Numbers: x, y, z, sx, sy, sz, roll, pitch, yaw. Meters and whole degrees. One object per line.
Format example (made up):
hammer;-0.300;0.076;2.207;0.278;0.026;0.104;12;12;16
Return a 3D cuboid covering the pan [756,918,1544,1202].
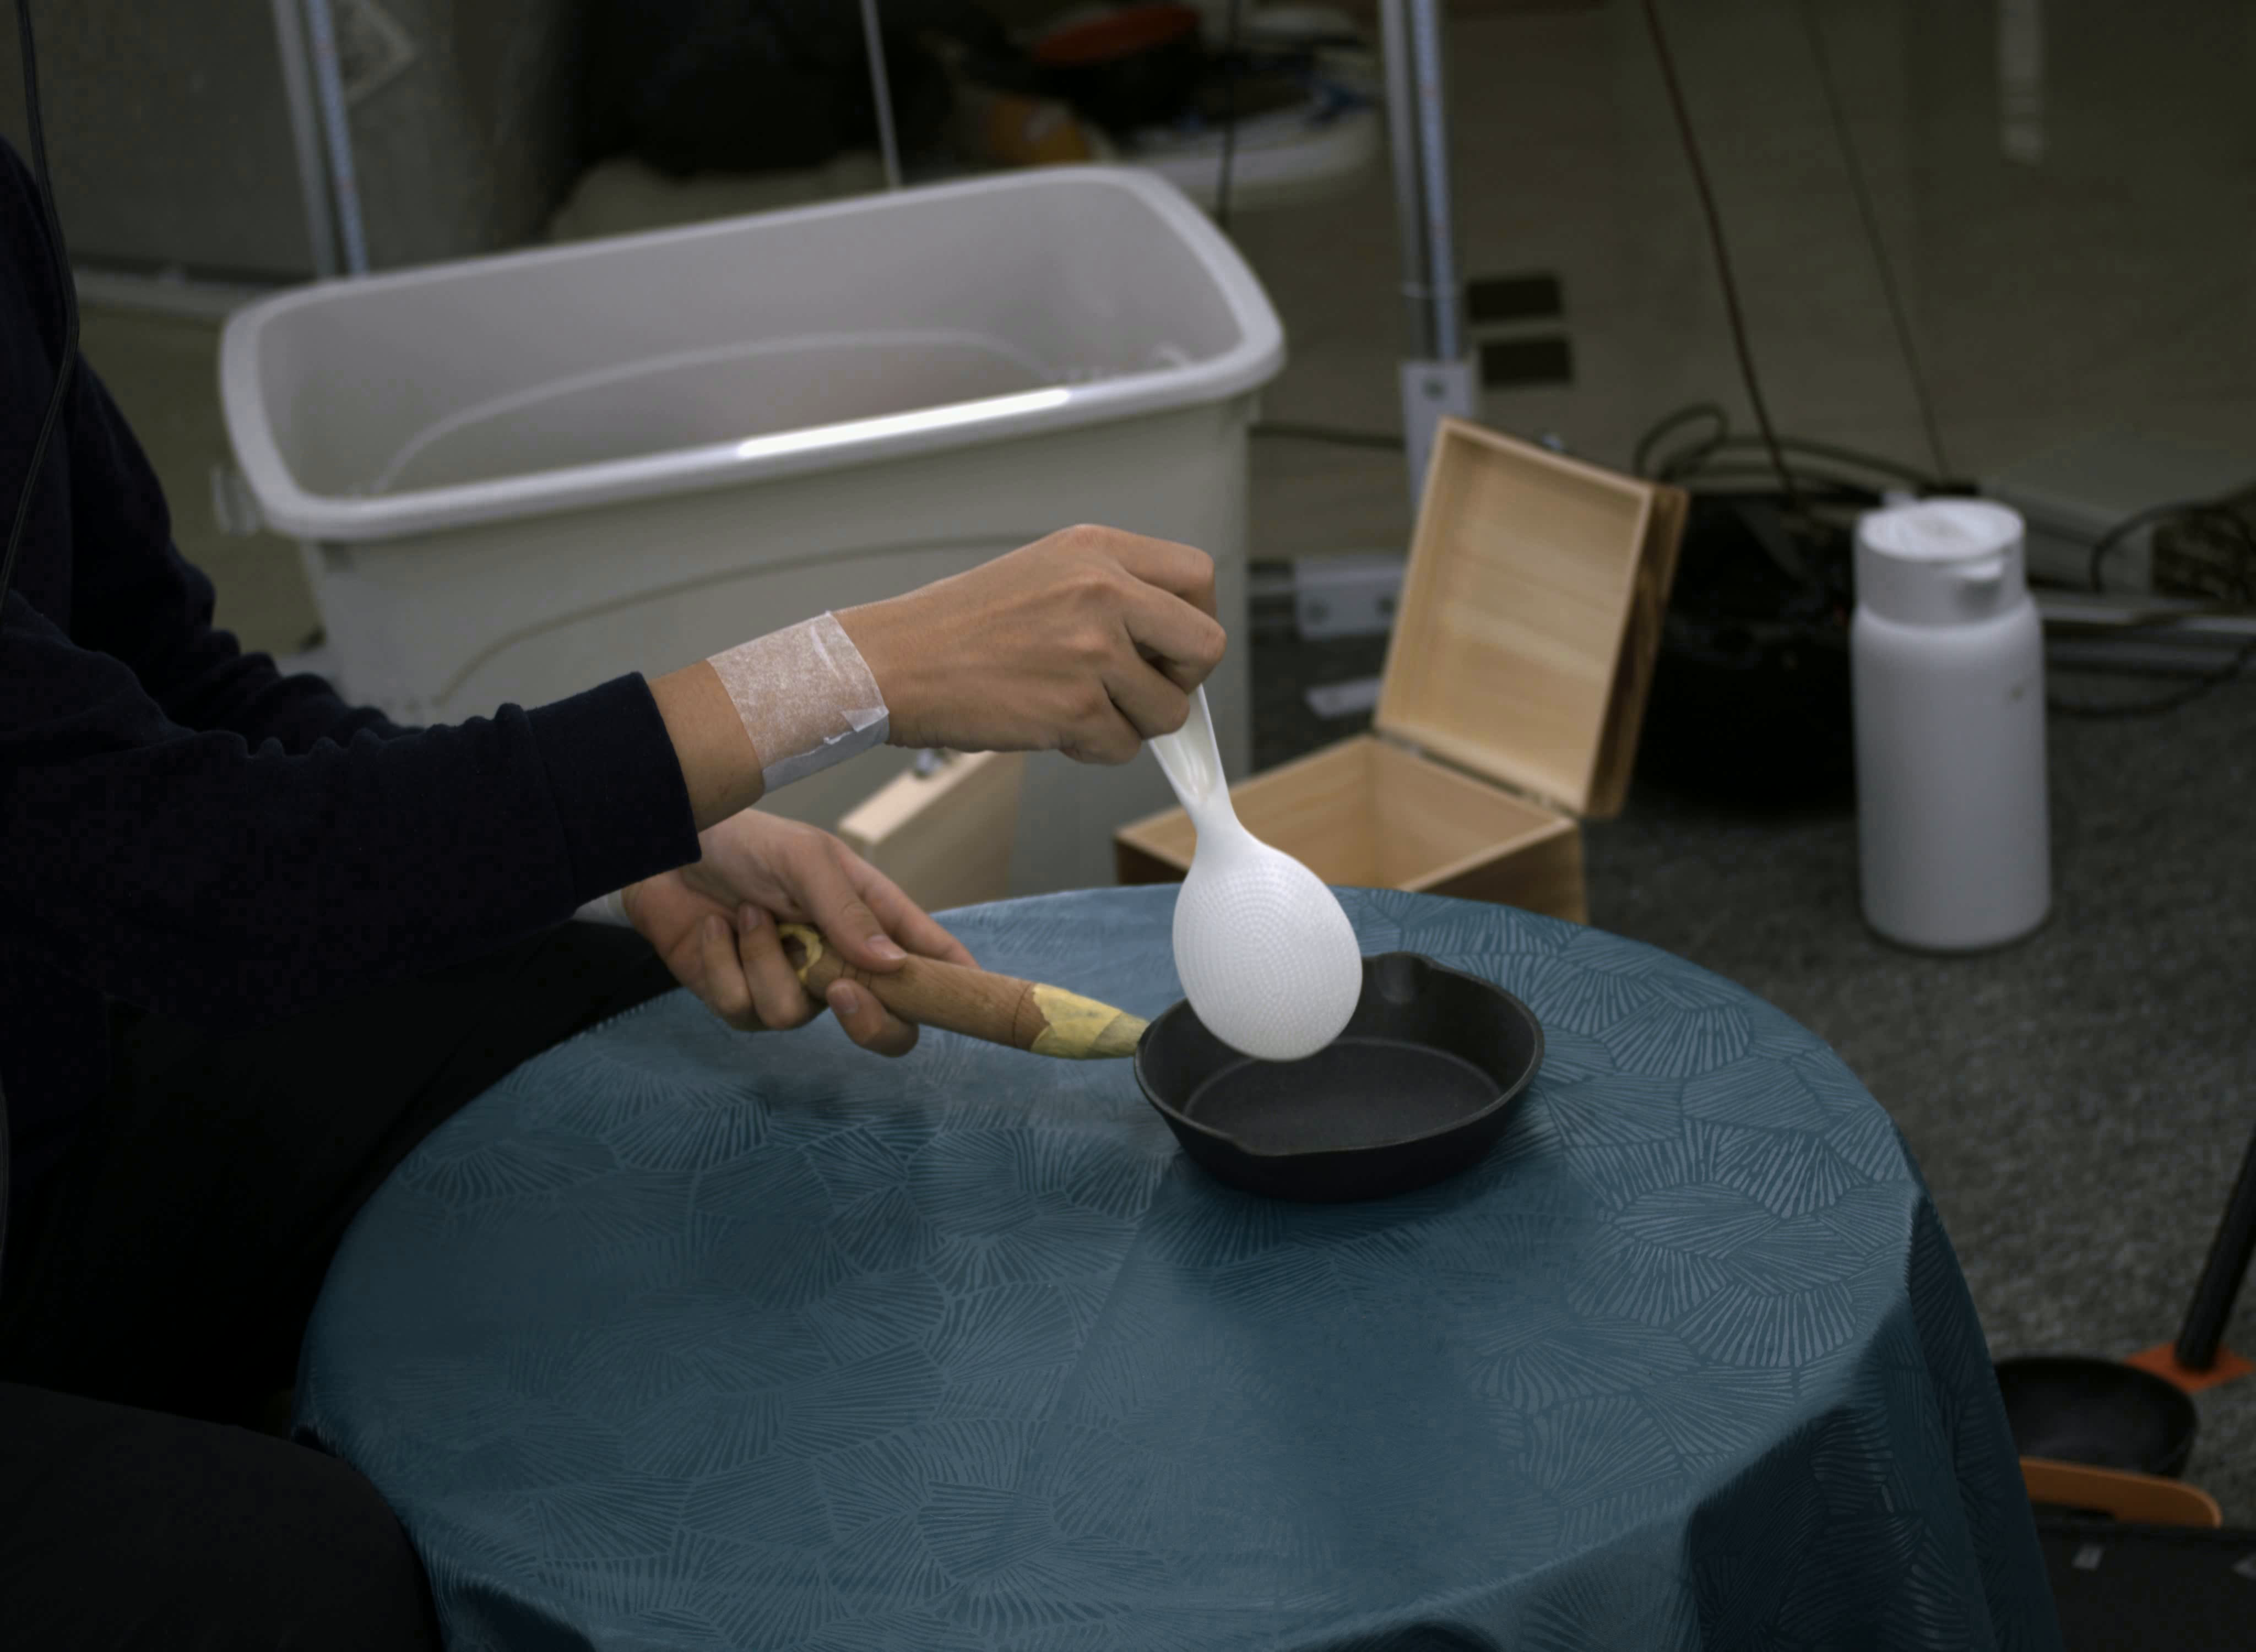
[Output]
pan;0.004;0.081;2.198;0.323;0.050;0.167;9;29;22

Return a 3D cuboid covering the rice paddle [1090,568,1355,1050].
rice paddle;0.032;-0.002;2.115;0.069;0.208;0.029;-16;29;8
